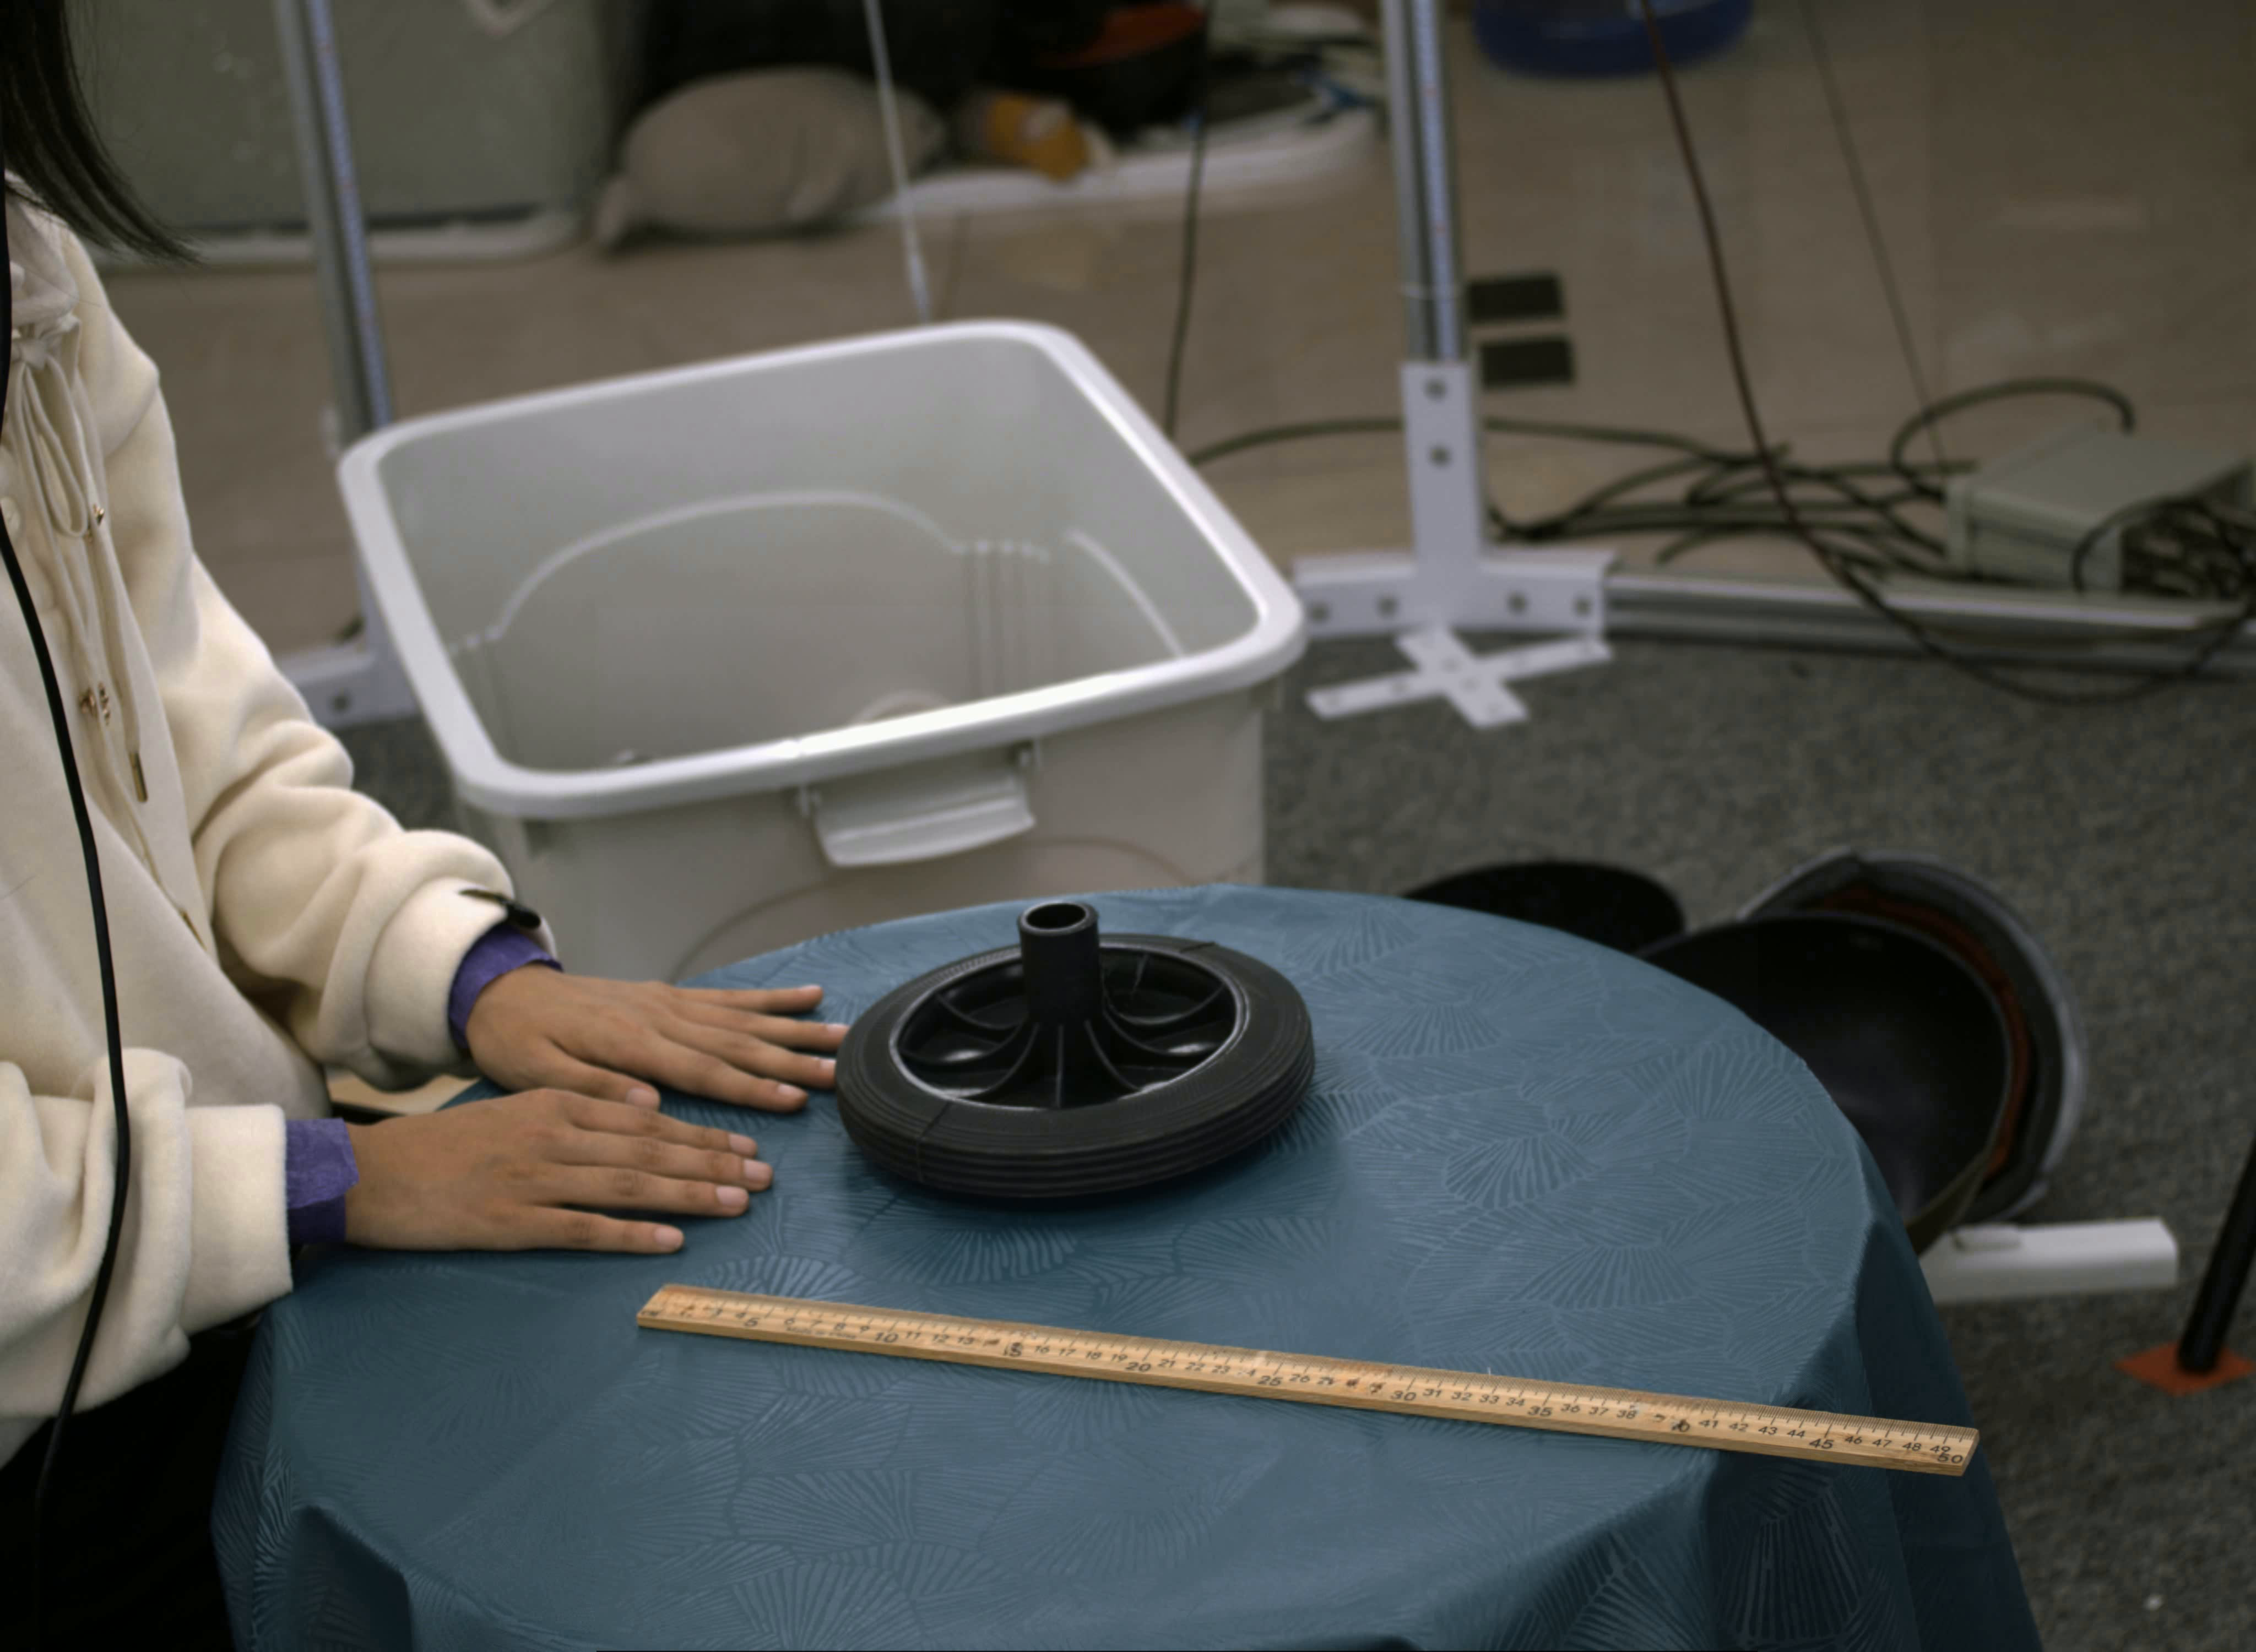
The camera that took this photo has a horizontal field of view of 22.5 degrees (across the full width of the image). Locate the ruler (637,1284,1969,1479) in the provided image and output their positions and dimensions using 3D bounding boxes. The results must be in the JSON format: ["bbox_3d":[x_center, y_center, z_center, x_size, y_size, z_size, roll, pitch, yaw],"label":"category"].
[{"bbox_3d":[0.051,0.195,2.010,0.499,0.006,0.026,4,28,22],"label":"ruler"}]

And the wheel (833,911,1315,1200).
[{"bbox_3d":[-0.023,0.075,2.200,0.187,0.080,0.187,-12,25,-11],"label":"wheel"}]
